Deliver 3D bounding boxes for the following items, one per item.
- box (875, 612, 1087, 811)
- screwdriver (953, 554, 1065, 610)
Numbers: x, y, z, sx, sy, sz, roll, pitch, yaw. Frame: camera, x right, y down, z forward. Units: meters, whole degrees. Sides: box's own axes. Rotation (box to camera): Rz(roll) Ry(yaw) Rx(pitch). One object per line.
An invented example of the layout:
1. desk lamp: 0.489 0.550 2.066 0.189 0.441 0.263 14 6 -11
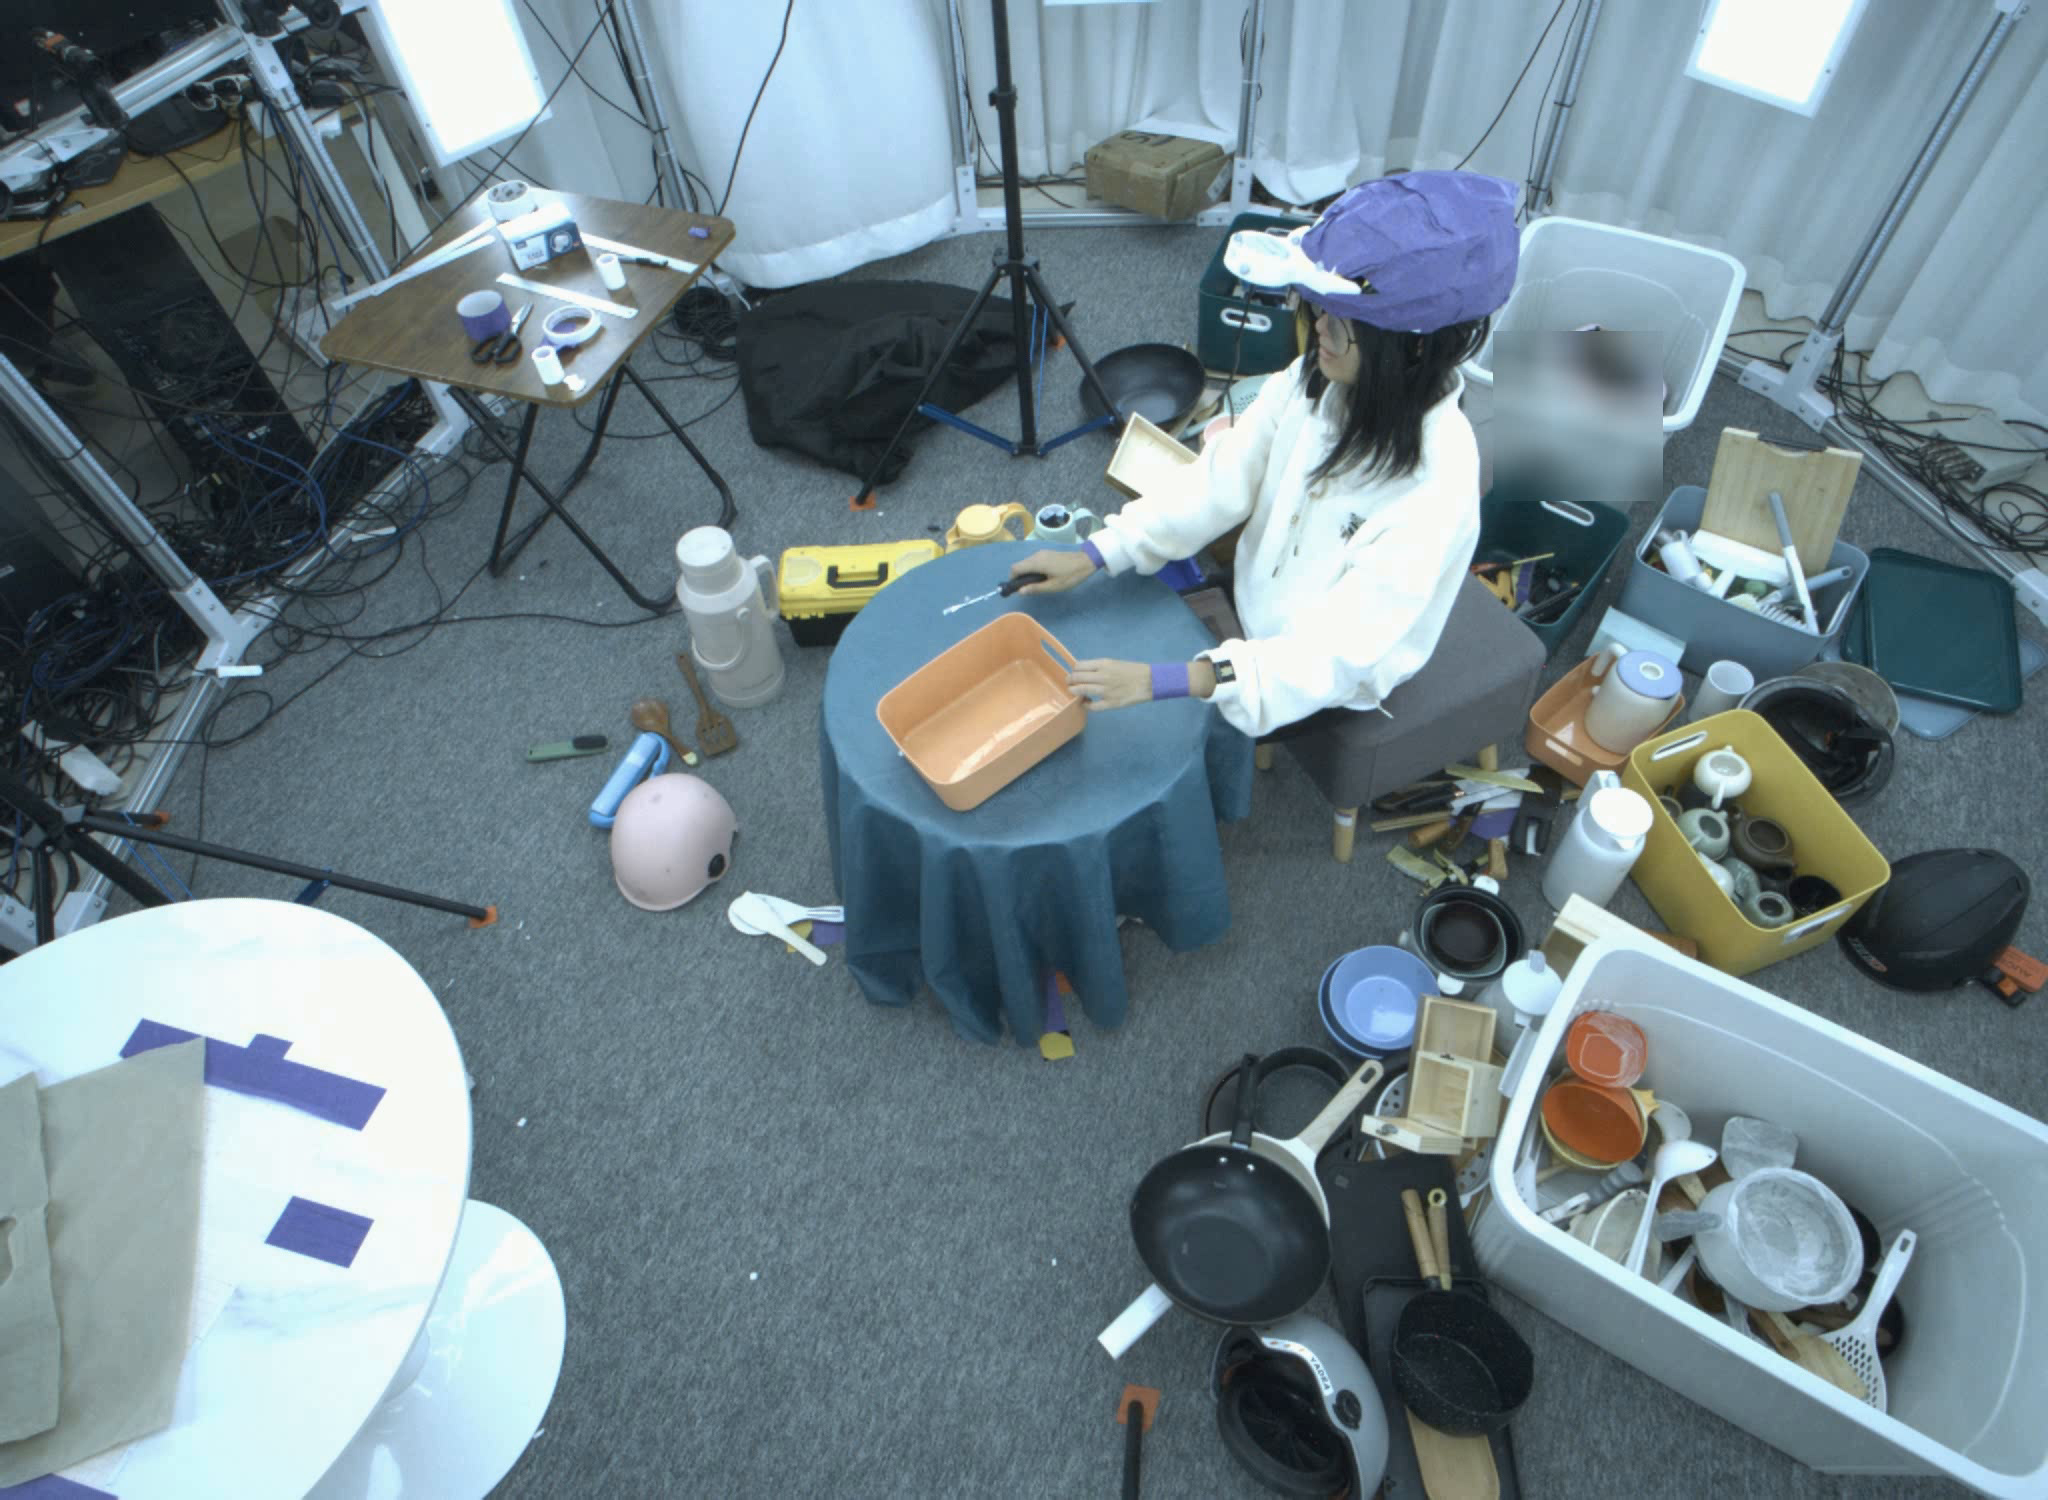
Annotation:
1. box: -0.051 -0.050 1.746 0.274 0.104 0.195 -37 60 -13
2. screwdriver: -0.022 -0.252 1.878 0.199 0.032 0.031 -30 59 -20
